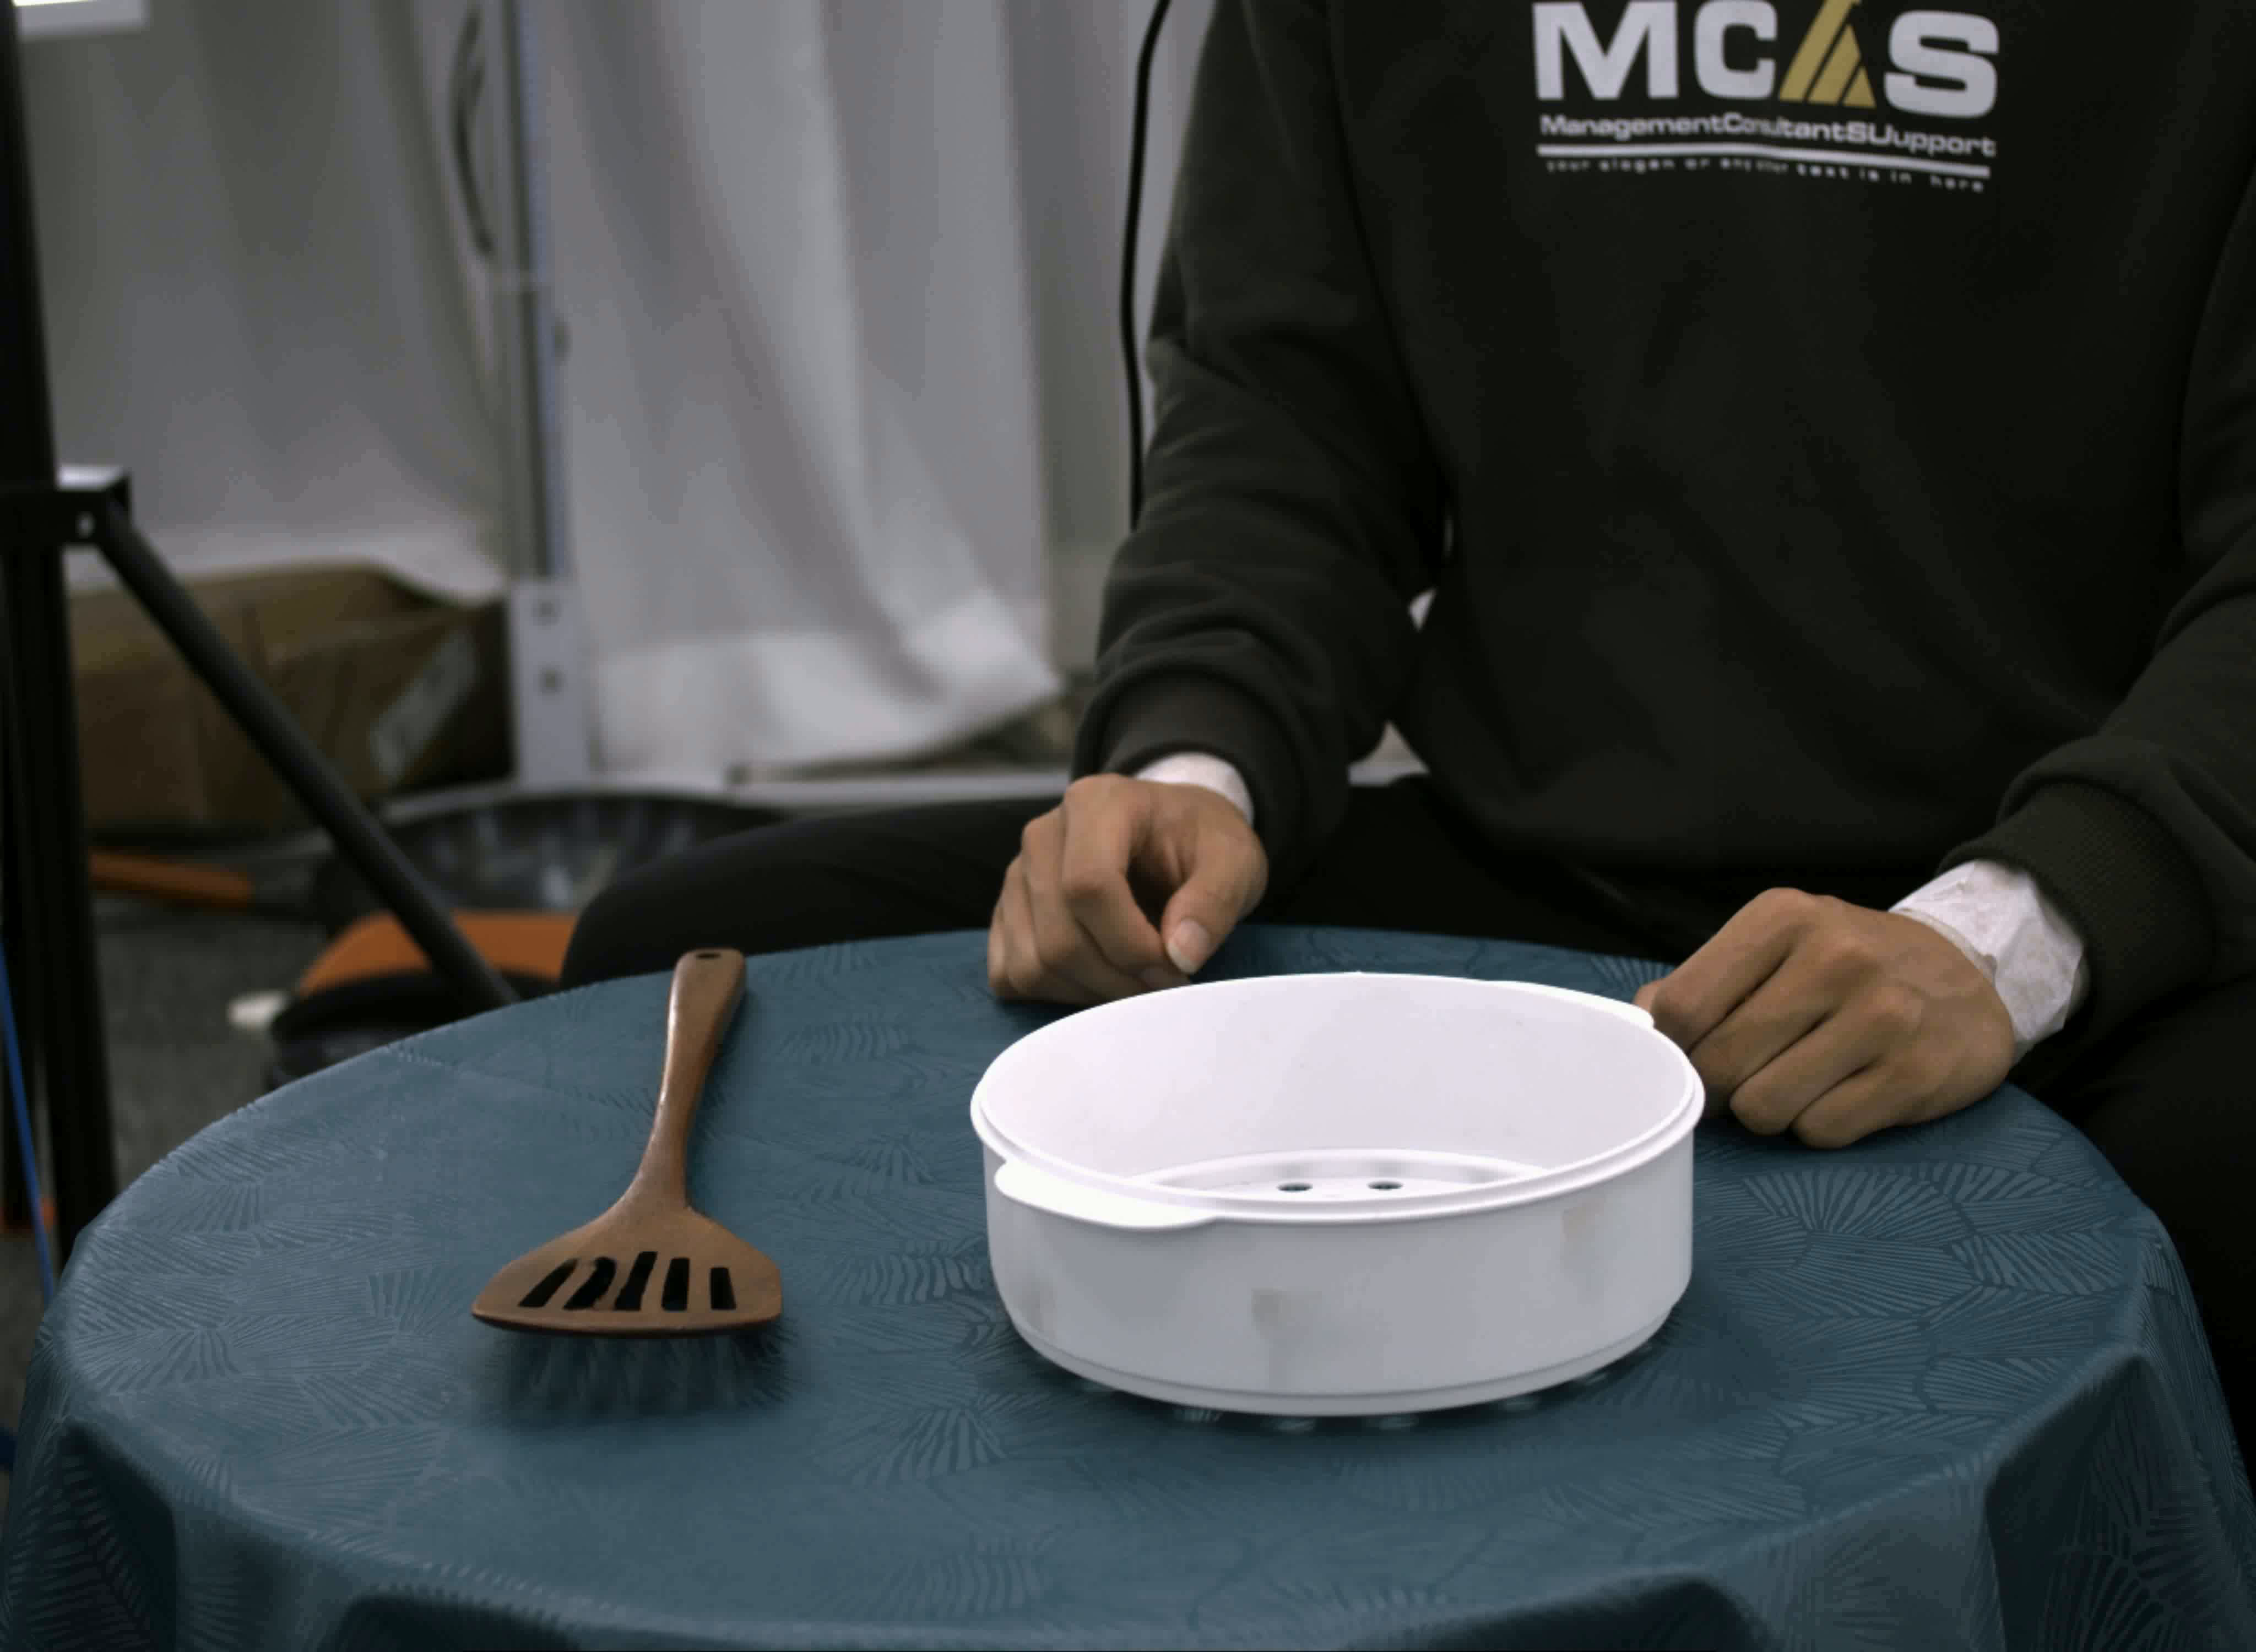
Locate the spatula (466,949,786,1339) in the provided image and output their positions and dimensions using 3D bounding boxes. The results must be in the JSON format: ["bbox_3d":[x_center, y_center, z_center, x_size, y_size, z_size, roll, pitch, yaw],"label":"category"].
[{"bbox_3d":[-0.138,0.094,1.596,0.085,0.024,0.387,0,15,-1],"label":"spatula"}]

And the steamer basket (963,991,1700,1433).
[{"bbox_3d":[0.054,0.105,1.451,0.206,0.069,0.225,14,19,40],"label":"steamer basket"}]
